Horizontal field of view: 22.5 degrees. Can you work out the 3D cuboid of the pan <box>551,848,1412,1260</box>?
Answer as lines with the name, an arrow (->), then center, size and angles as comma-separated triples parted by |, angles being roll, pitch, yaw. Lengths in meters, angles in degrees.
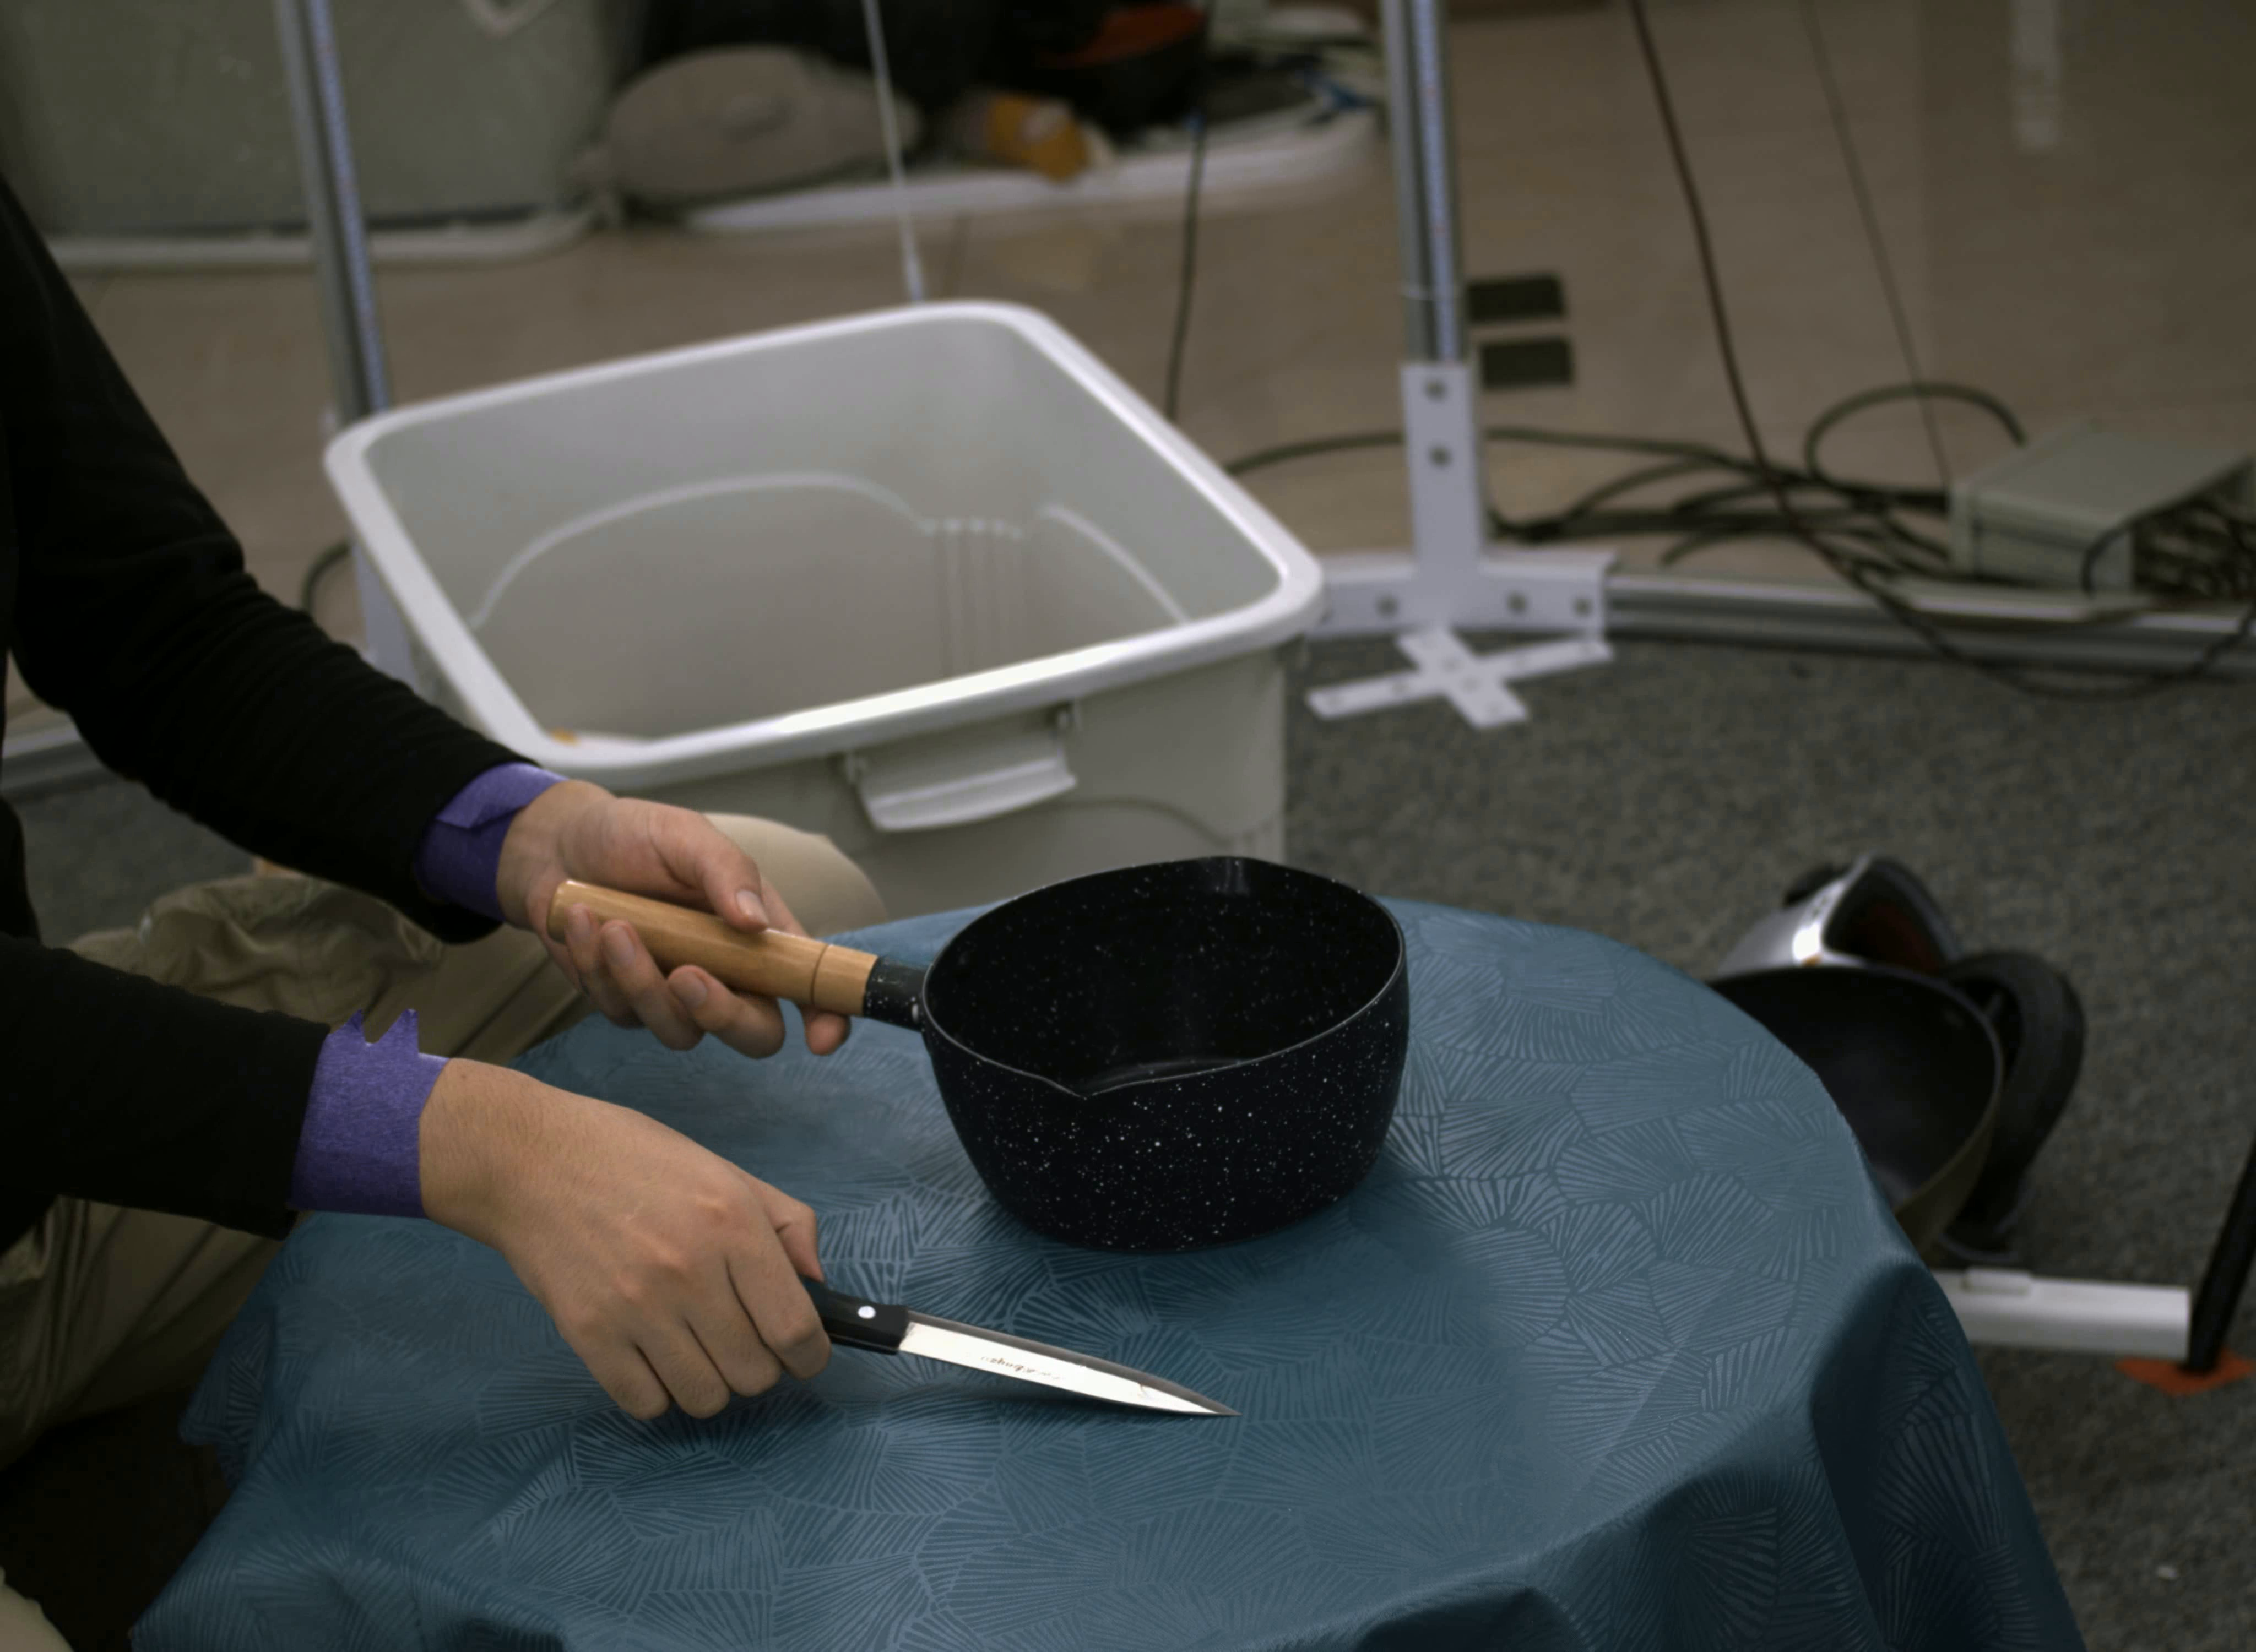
pan -> -0.059, 0.078, 2.168 | 0.342, 0.110, 0.204 | 3, 27, 17

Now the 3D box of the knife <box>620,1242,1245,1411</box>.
knife -> -0.073, 0.183, 2.023 | 0.237, 0.016, 0.024 | 12, 41, 13
